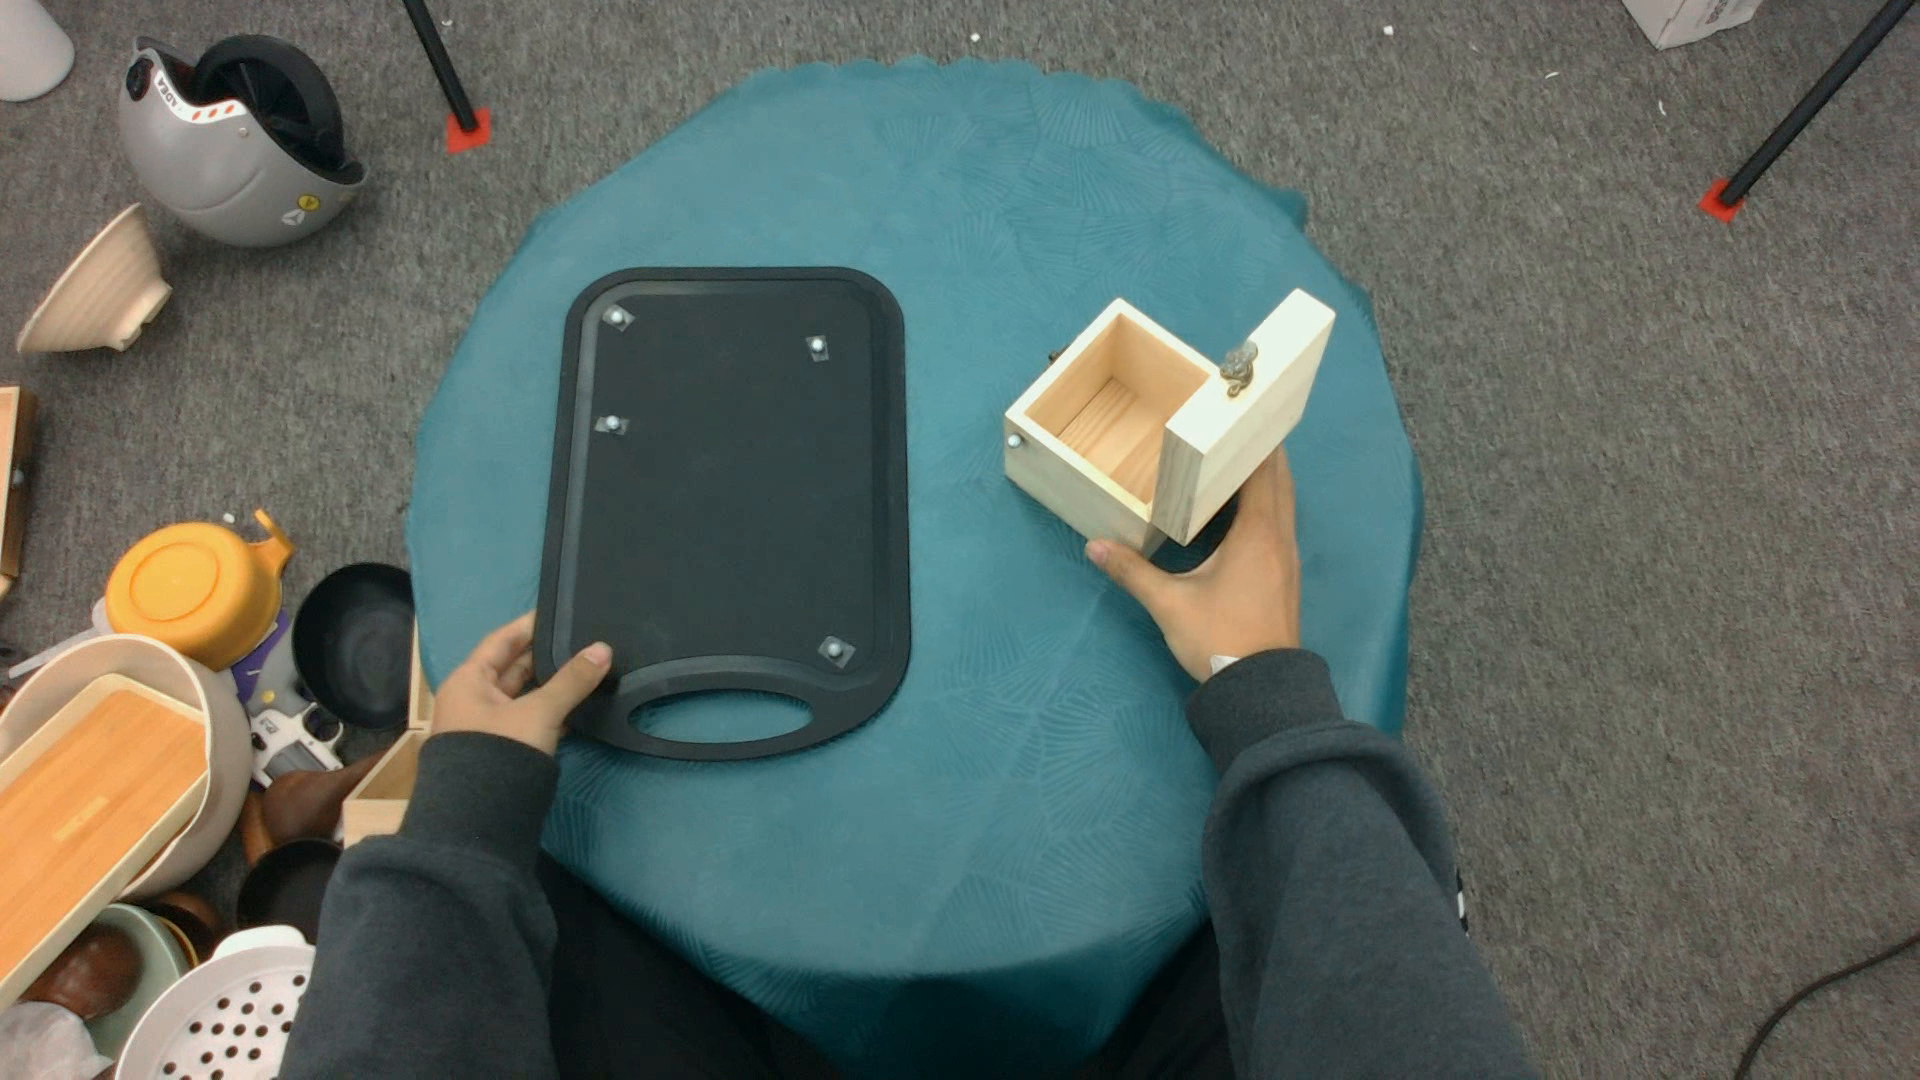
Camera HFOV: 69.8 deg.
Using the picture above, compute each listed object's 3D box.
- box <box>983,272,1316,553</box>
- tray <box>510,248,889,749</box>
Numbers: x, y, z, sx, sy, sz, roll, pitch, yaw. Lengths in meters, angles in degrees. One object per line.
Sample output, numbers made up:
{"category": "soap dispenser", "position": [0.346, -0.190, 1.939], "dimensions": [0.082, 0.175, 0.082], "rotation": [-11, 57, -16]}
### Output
{"category": "box", "position": [0.091, -0.085, 0.739], "dimensions": [0.134, 0.184, 0.103], "rotation": [38, 72, 14]}
{"category": "tray", "position": [-0.148, -0.037, 0.808], "dimensions": [0.211, 0.010, 0.326], "rotation": [-1, 66, -4]}
